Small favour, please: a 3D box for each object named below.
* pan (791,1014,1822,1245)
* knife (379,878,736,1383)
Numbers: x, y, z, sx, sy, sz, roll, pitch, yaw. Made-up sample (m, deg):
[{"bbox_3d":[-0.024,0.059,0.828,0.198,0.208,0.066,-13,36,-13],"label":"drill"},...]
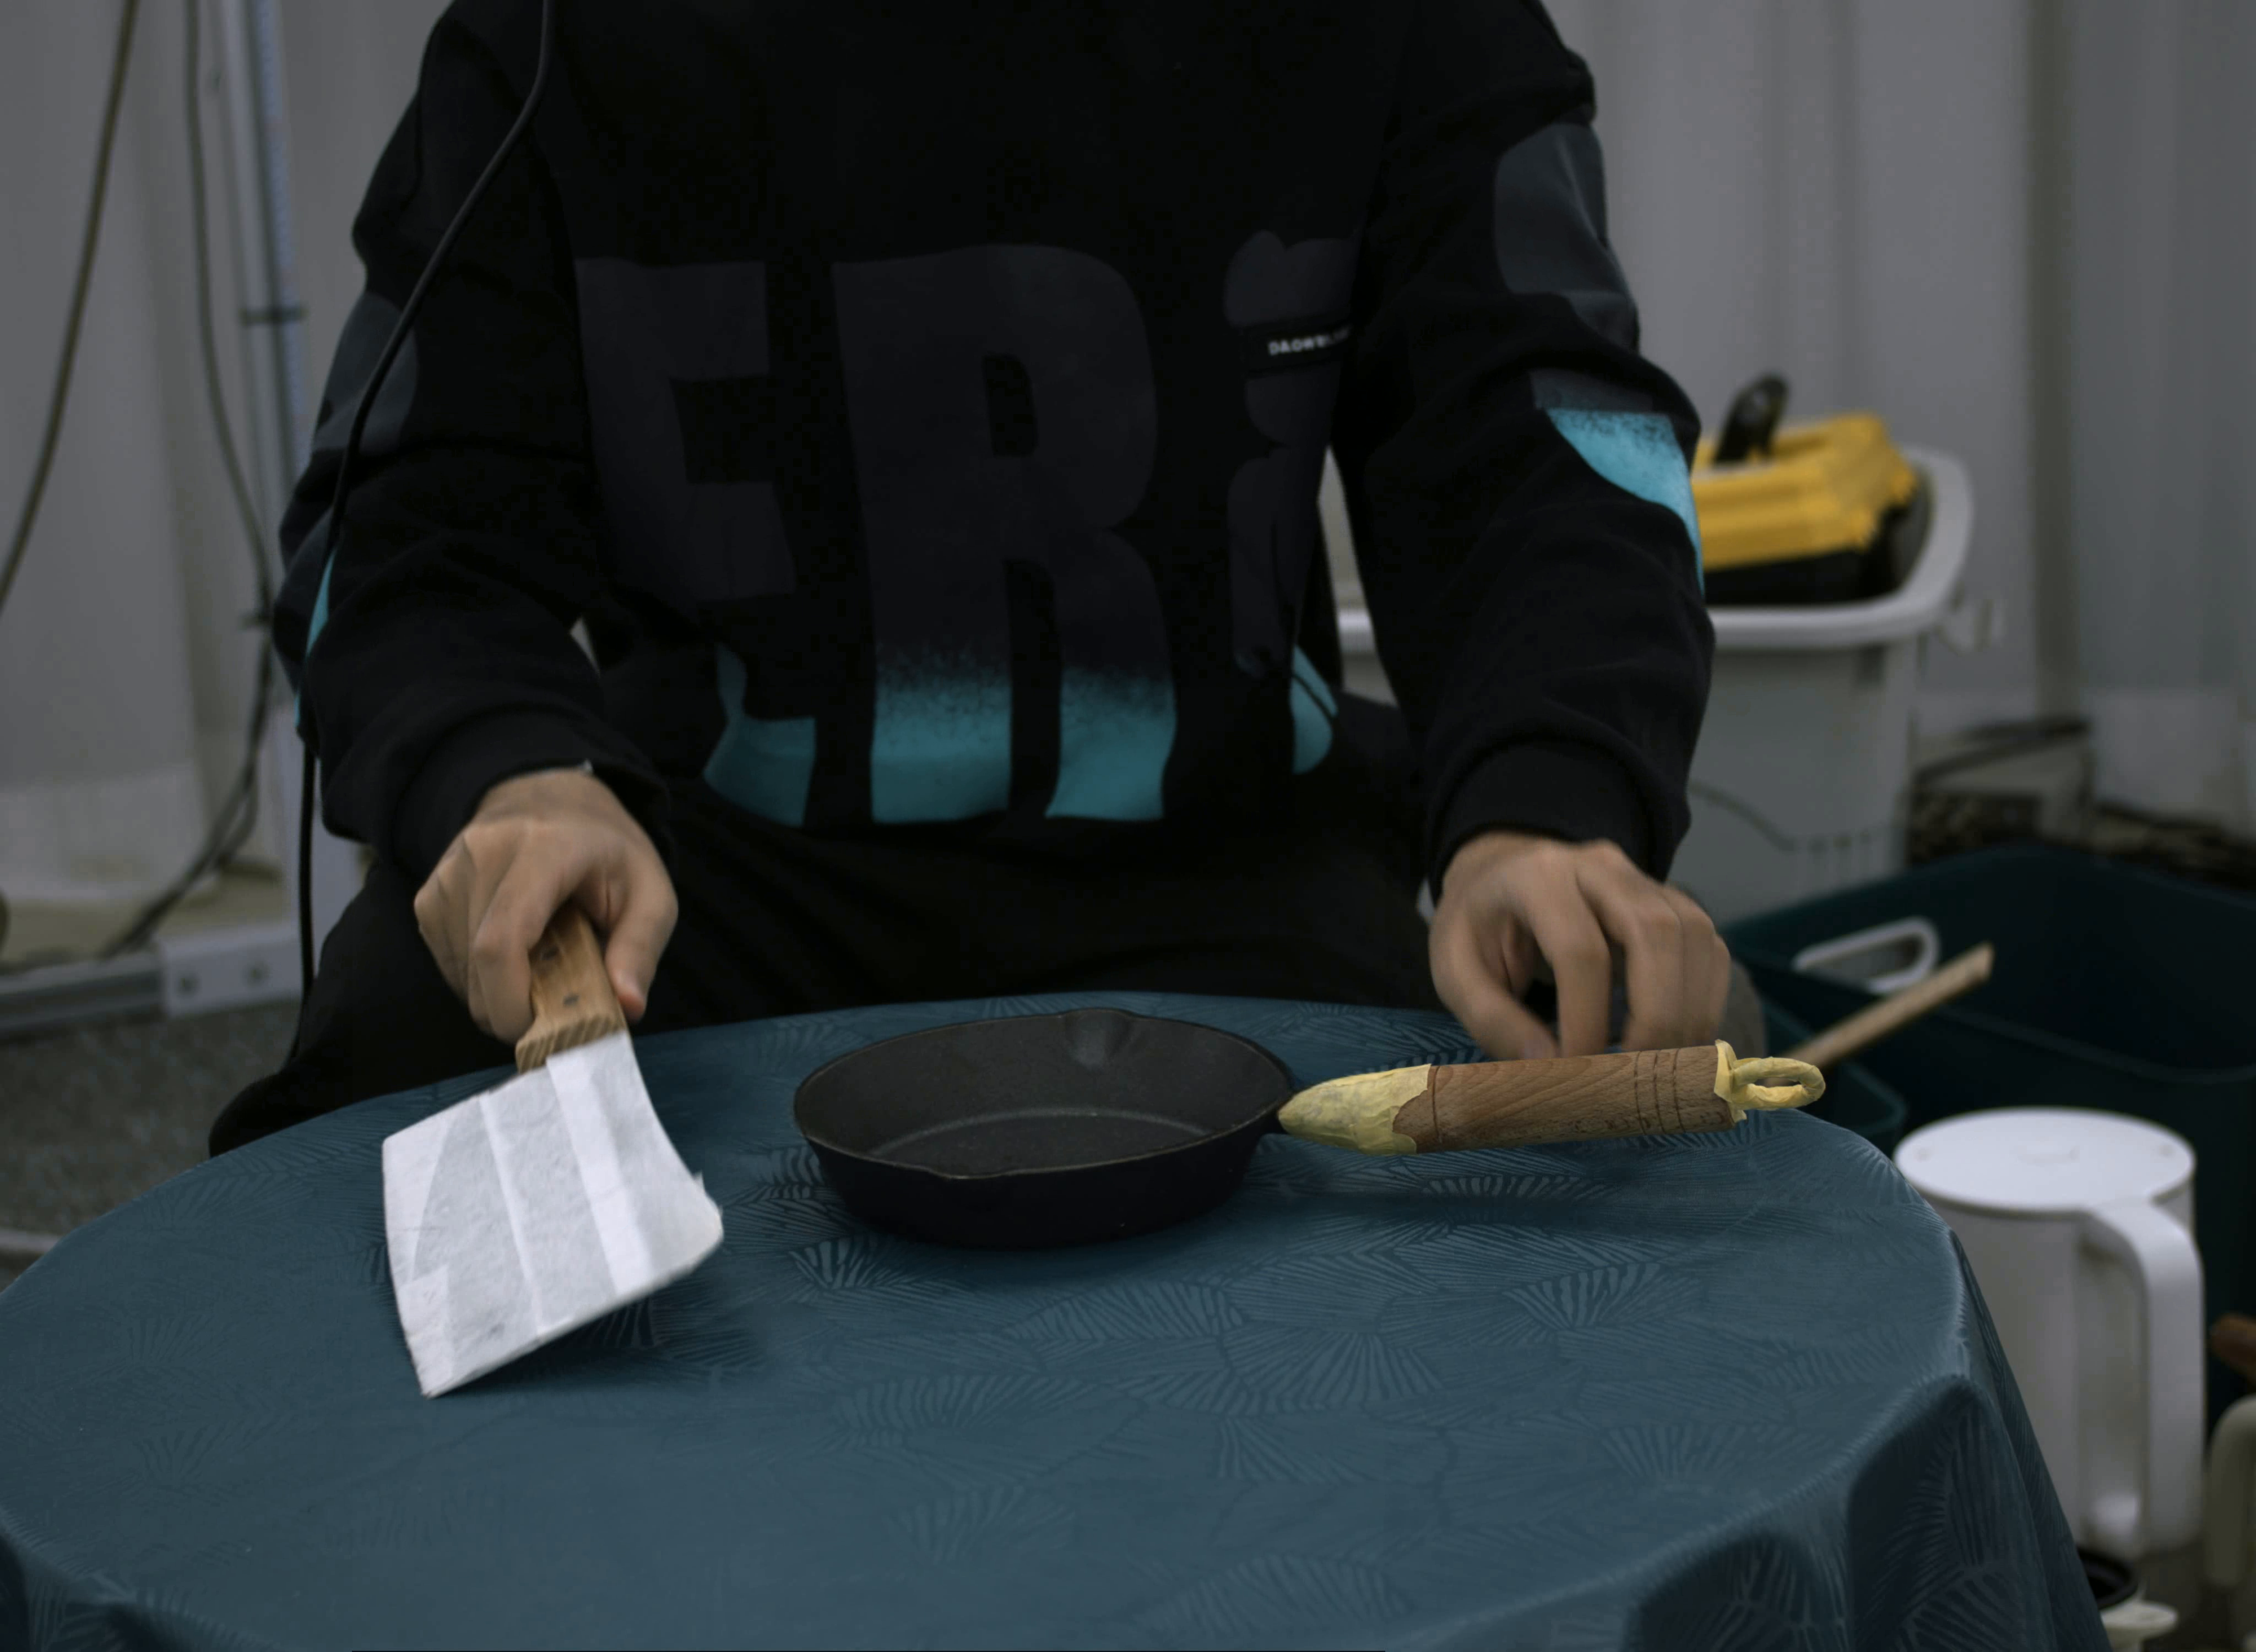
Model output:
[{"bbox_3d":[0.054,0.091,1.696,0.324,0.049,0.169,0,15,16],"label":"pan"},{"bbox_3d":[-0.183,0.087,1.715,0.113,0.021,0.319,-25,23,2],"label":"knife"}]
